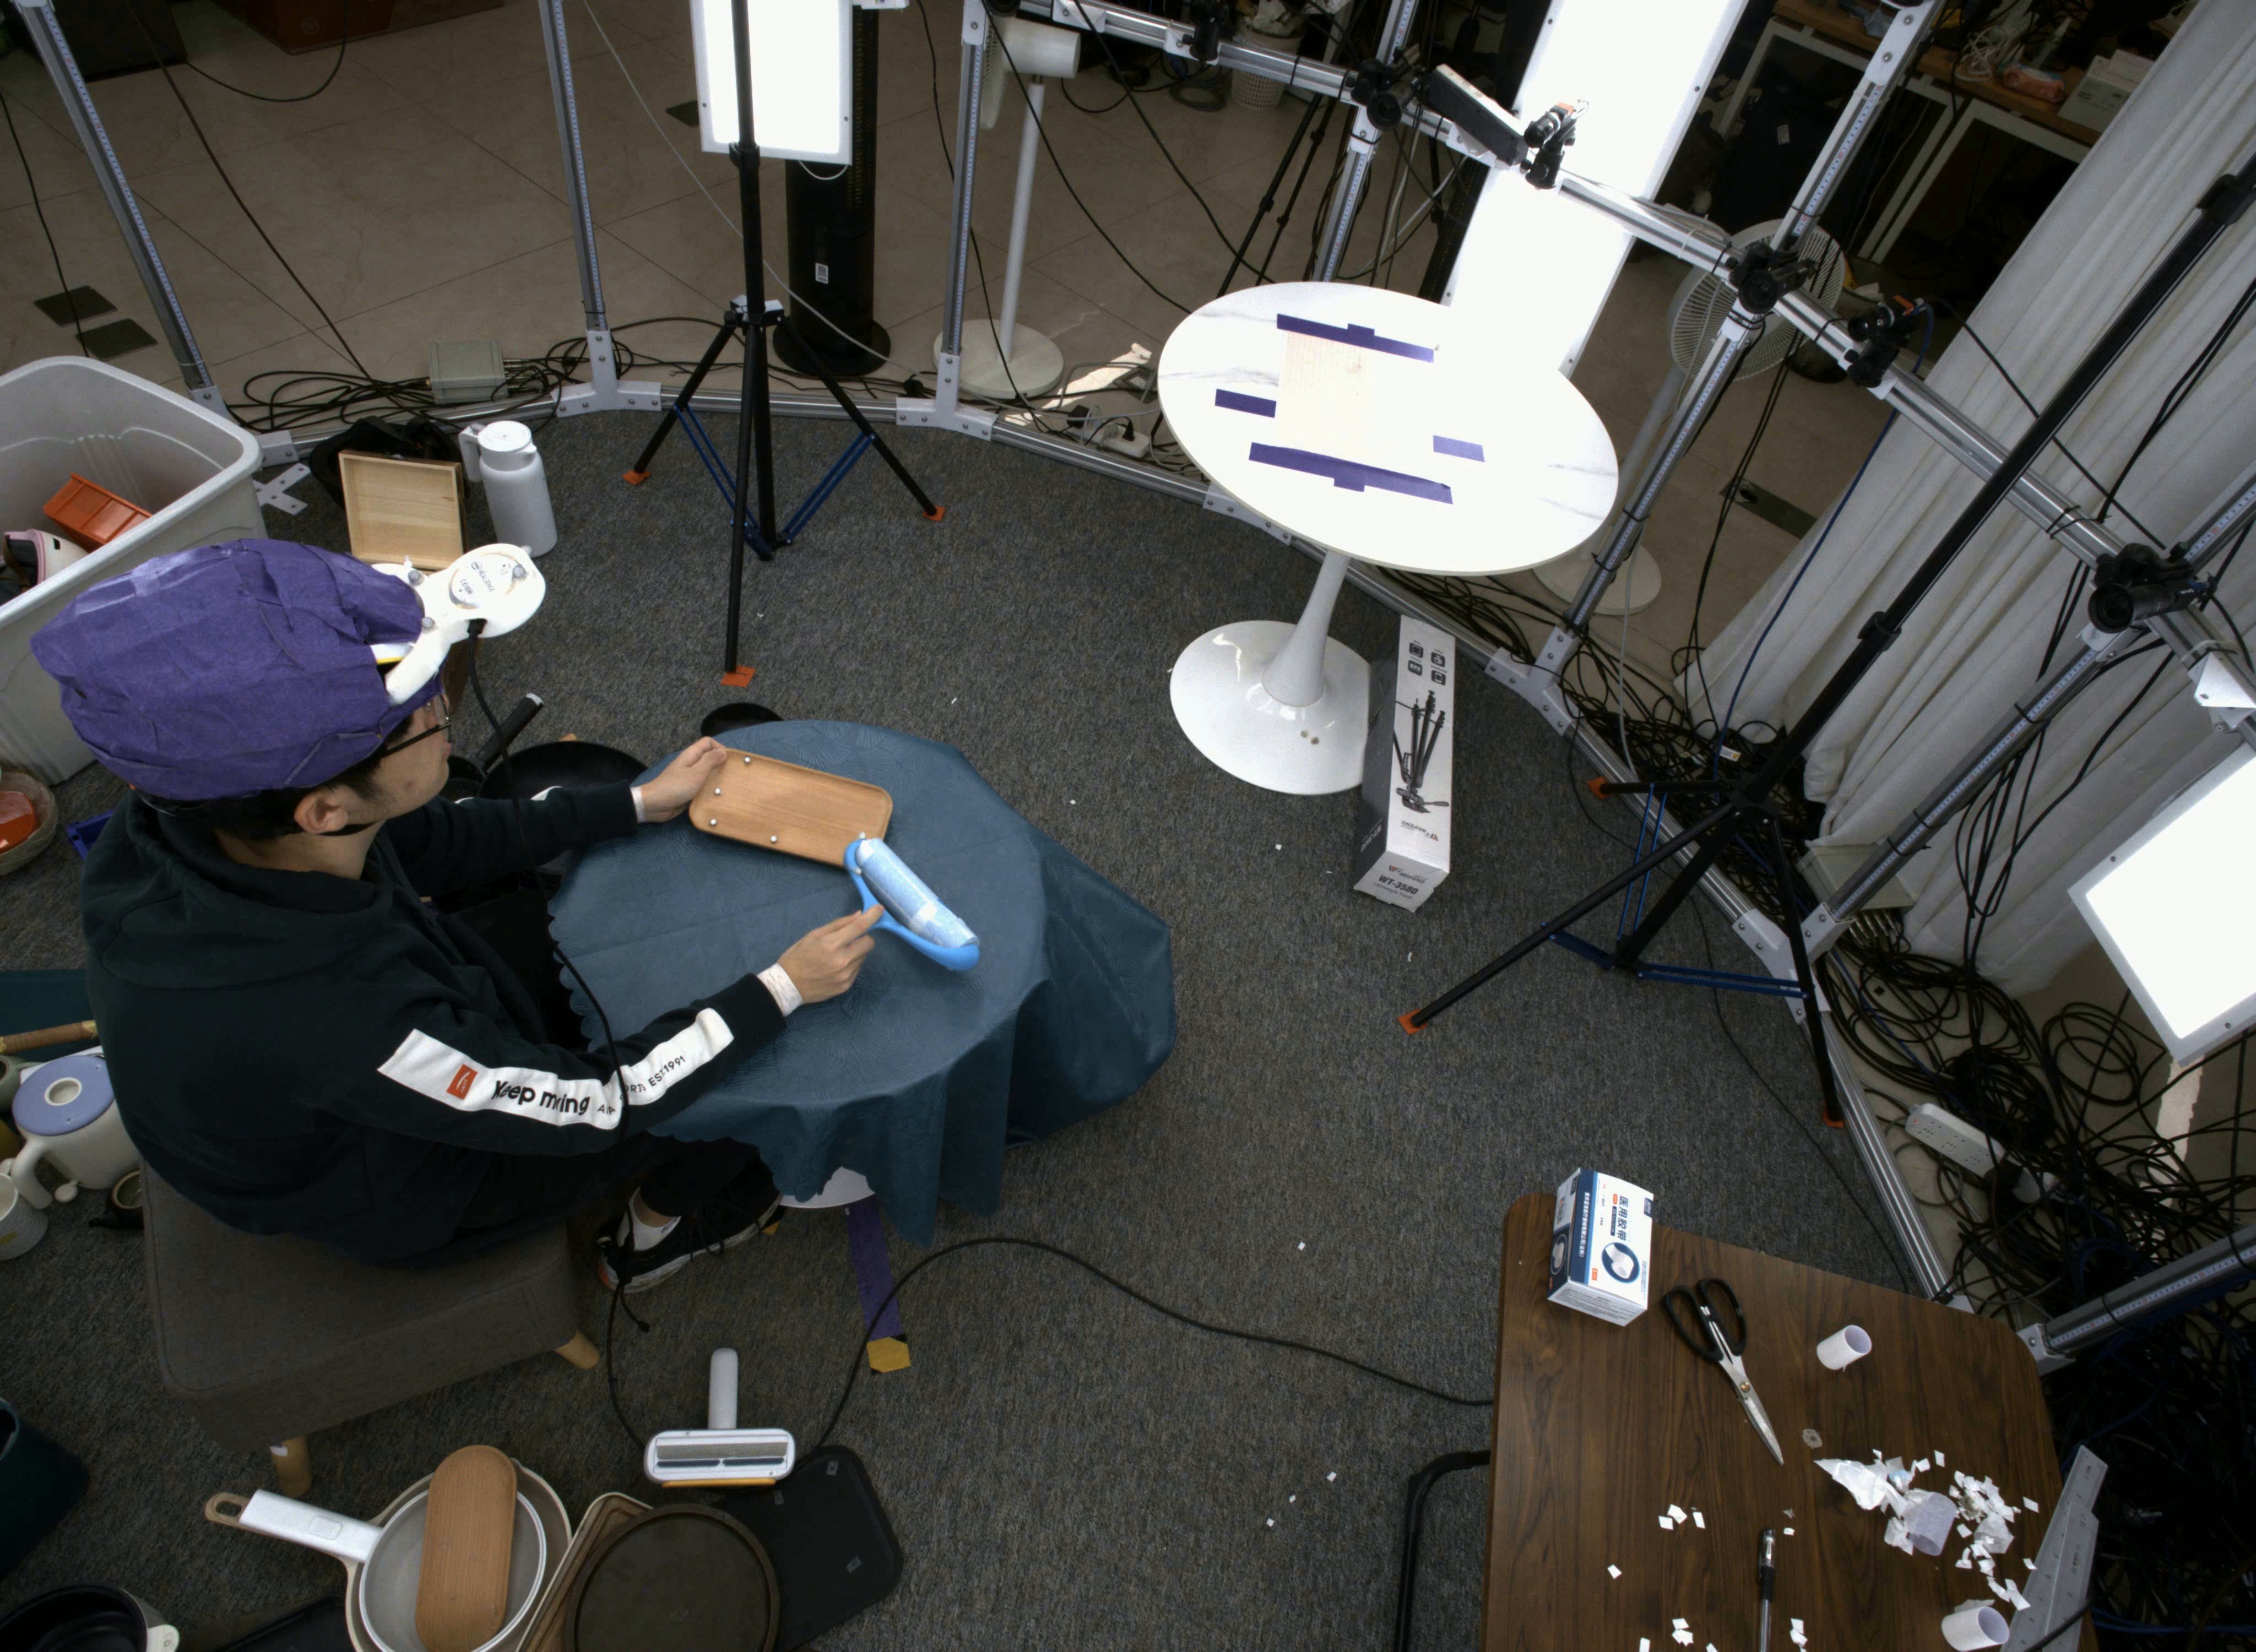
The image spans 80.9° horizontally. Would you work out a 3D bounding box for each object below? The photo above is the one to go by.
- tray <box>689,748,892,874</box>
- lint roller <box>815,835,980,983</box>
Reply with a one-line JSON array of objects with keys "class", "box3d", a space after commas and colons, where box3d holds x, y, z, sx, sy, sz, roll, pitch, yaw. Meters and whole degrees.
[{"class": "tray", "box3d": [-0.443, -0.020, 1.705, 0.251, 0.023, 0.129, 17, 65, -10]}, {"class": "lint roller", "box3d": [-0.308, 0.121, 1.595, 0.224, 0.069, 0.180, 41, 56, 14]}]
